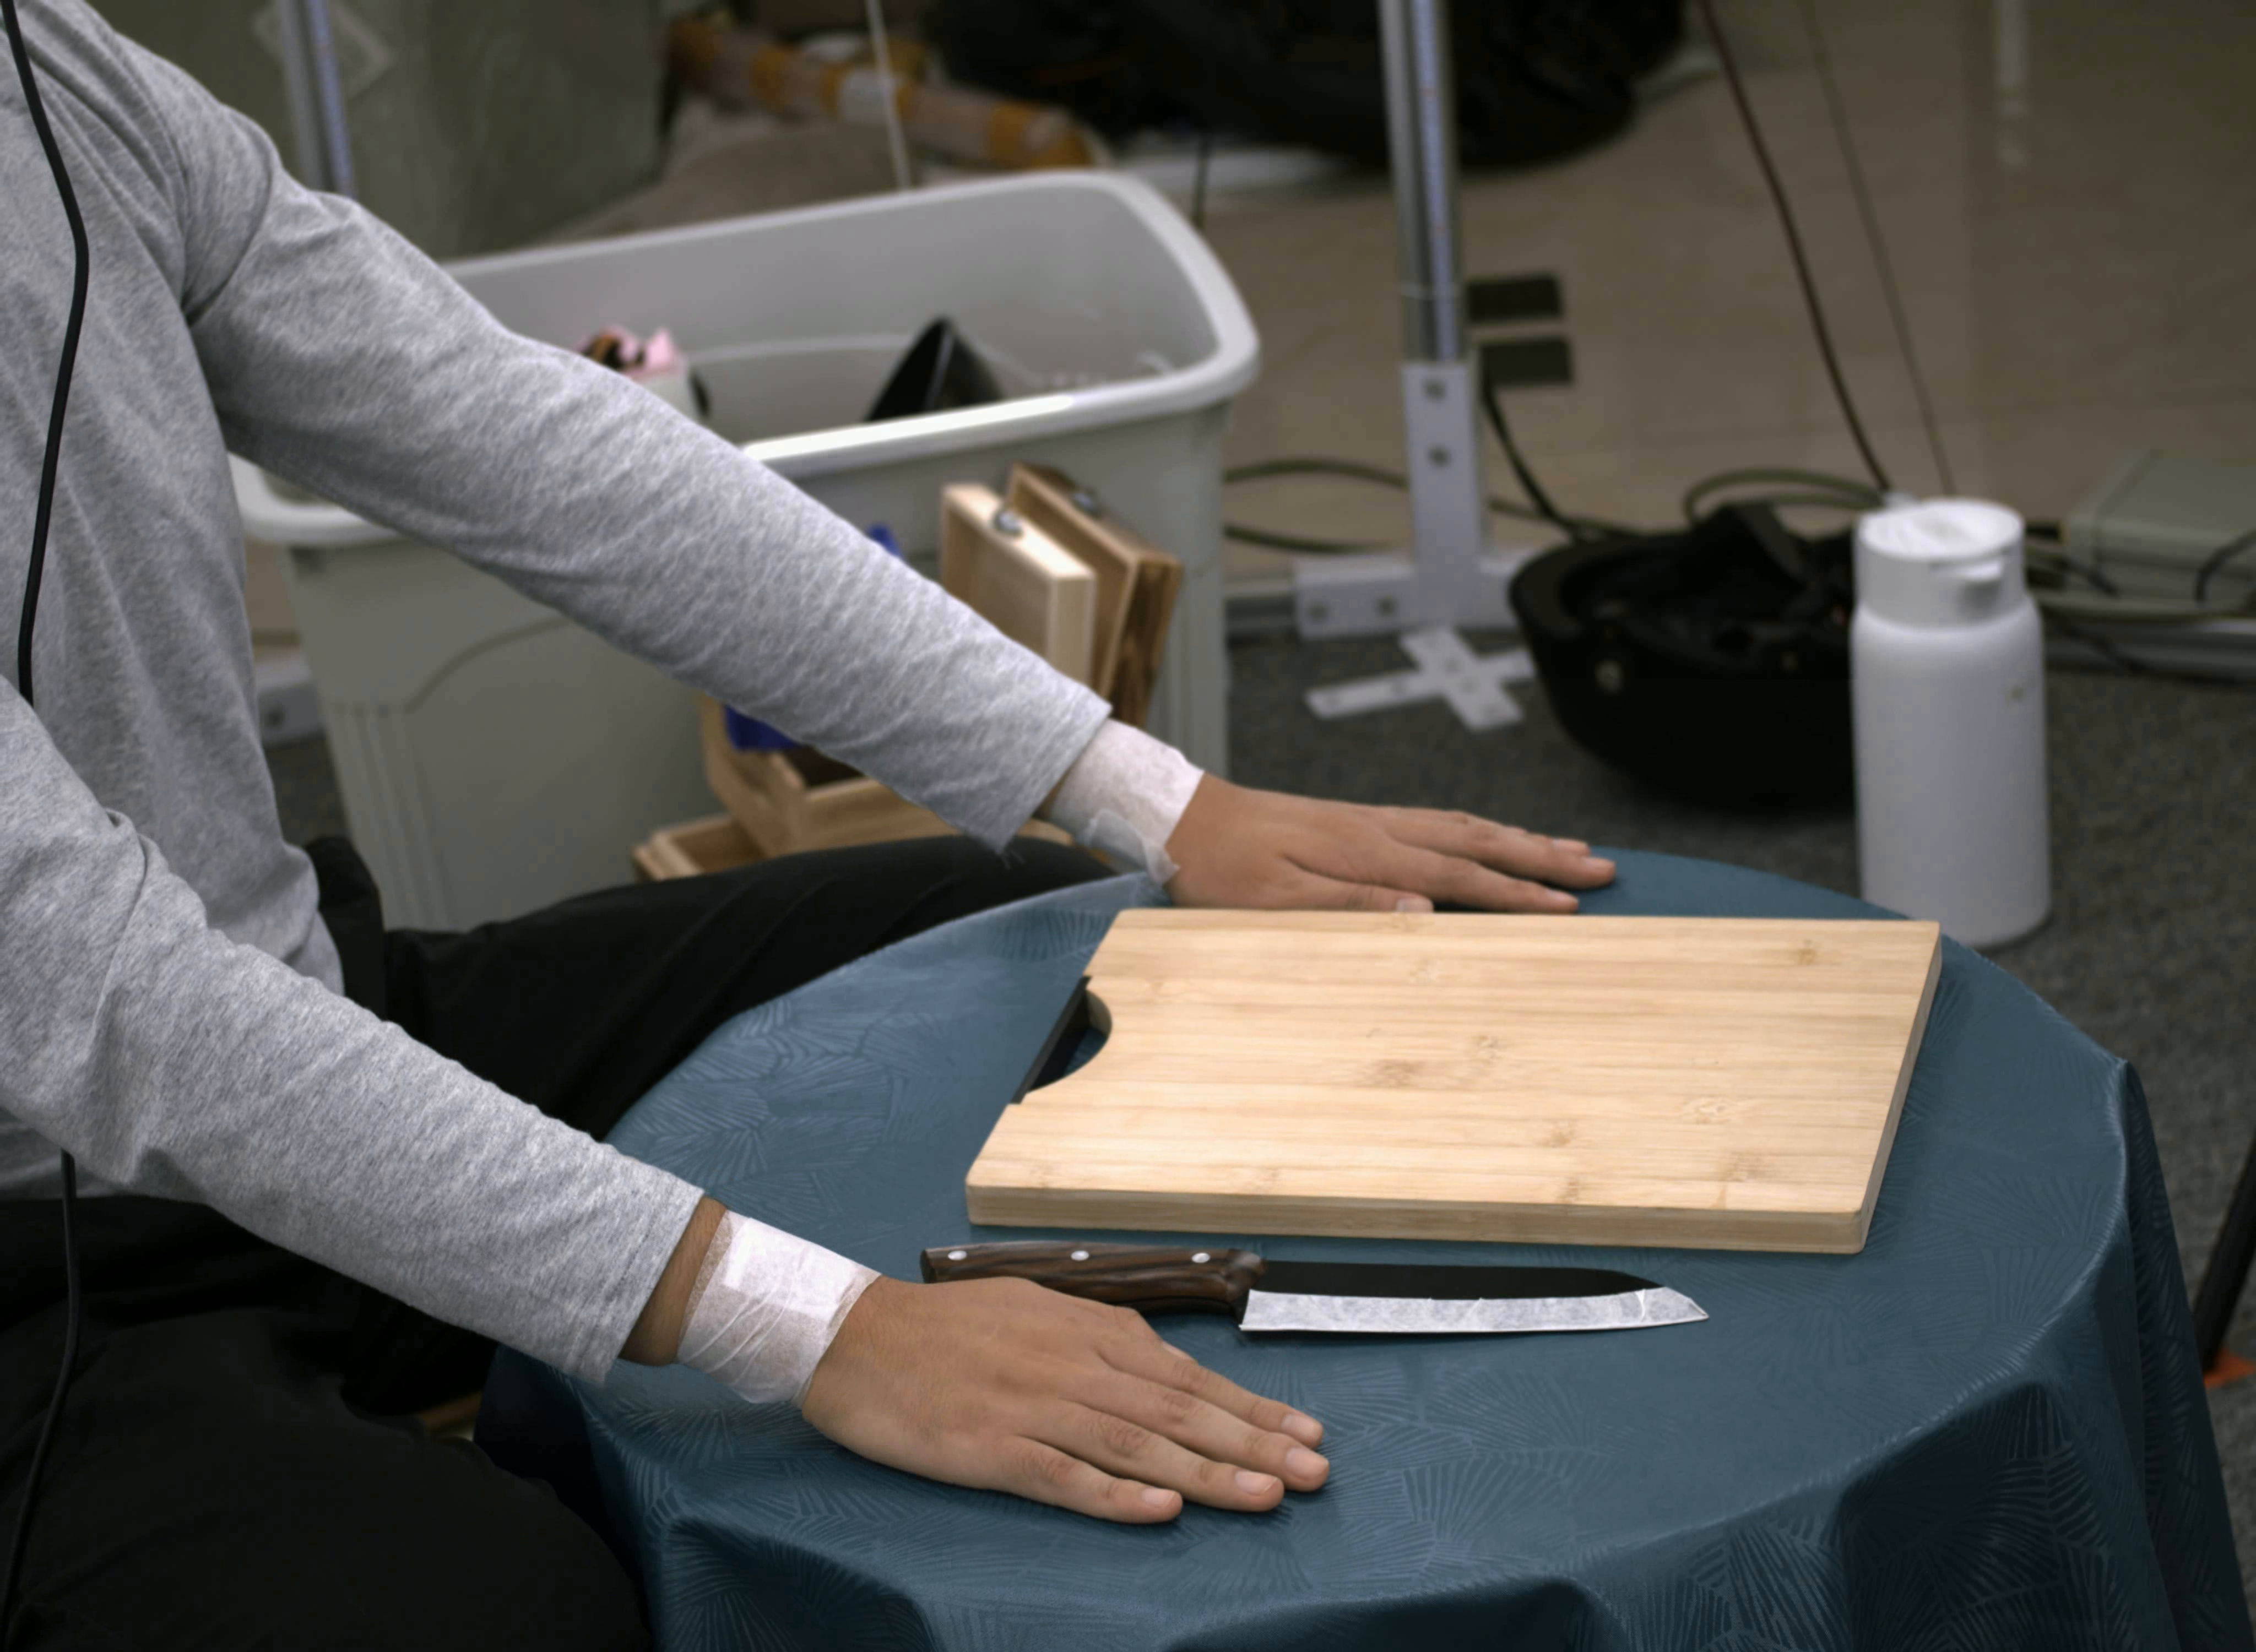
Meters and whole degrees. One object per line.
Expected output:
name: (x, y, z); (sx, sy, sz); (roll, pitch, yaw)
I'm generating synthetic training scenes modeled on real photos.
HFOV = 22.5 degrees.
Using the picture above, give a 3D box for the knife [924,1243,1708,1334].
knife: (0.065, 0.169, 2.053); (0.288, 0.020, 0.049); (1, 31, 11)

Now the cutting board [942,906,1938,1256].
cutting board: (0.126, 0.095, 2.197); (0.348, 0.024, 0.247); (1, 25, 15)
